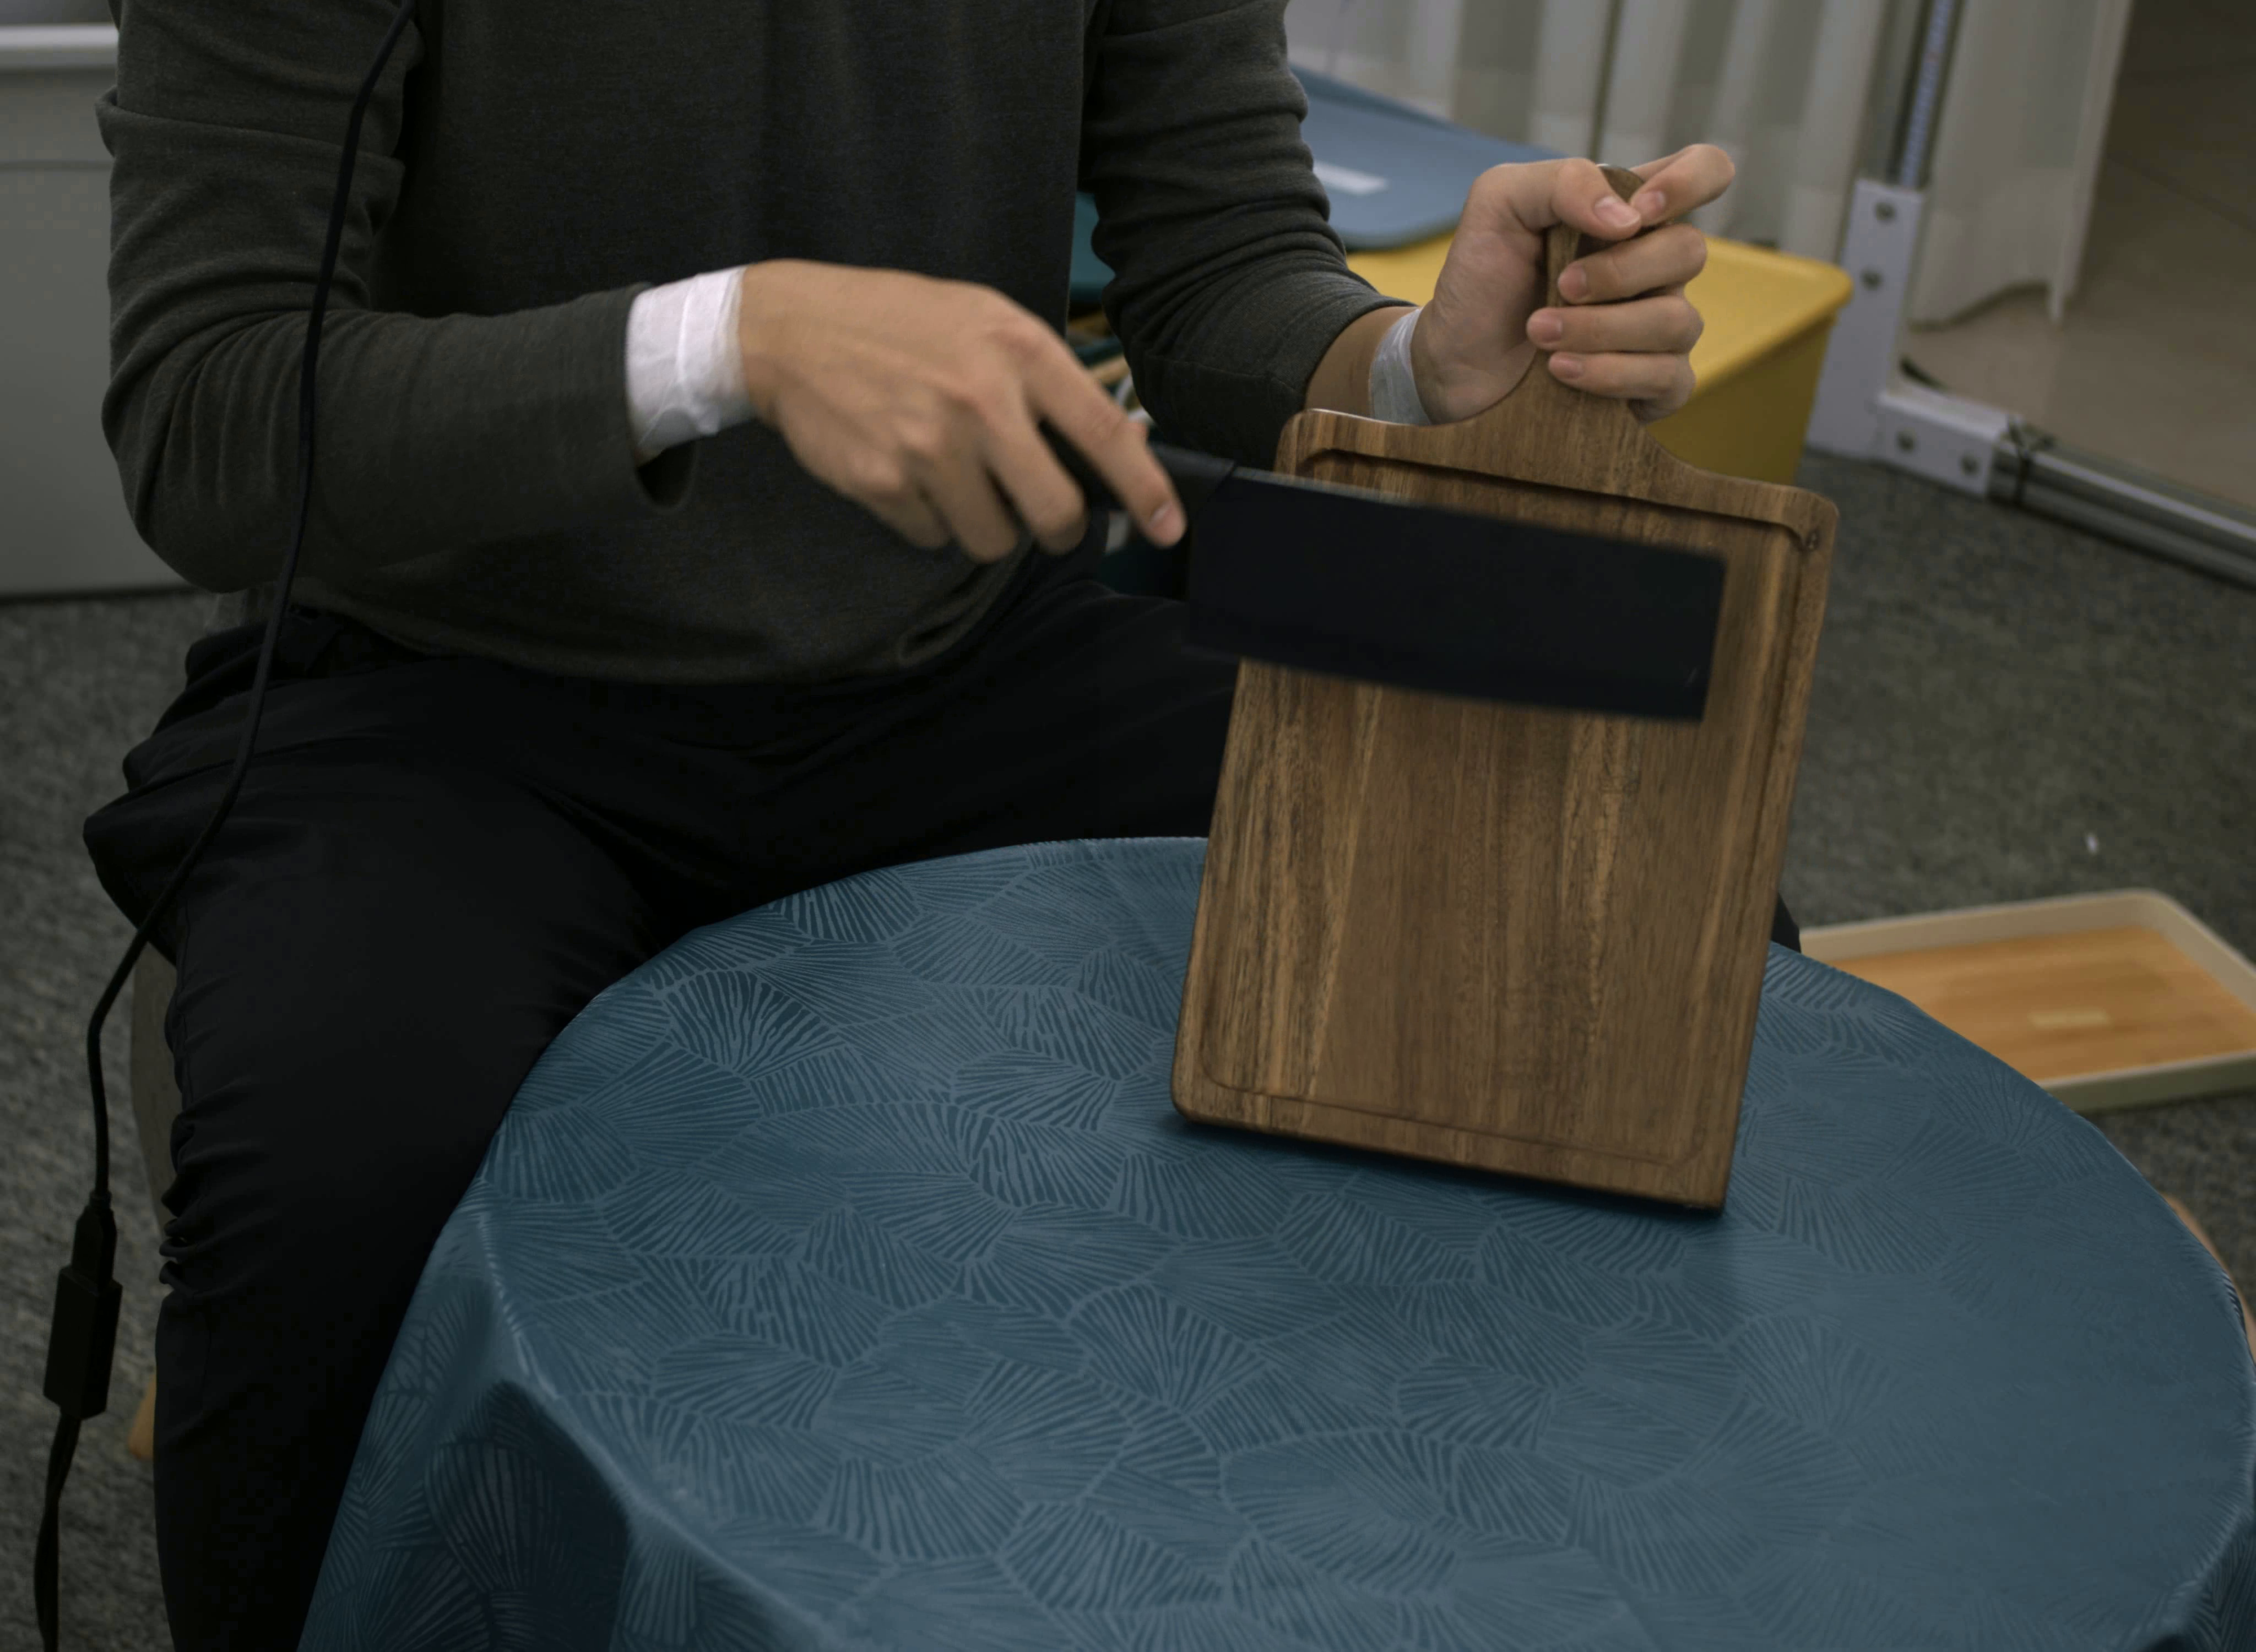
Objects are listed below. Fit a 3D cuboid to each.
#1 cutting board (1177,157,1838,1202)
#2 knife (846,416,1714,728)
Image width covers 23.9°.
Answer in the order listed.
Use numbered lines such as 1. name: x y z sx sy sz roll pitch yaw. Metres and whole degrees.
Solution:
1. cutting board: 0.138 -0.056 1.842 0.201 0.353 0.023 9 -2 6
2. knife: 0.049 -0.088 1.795 0.302 0.081 0.021 15 21 12
